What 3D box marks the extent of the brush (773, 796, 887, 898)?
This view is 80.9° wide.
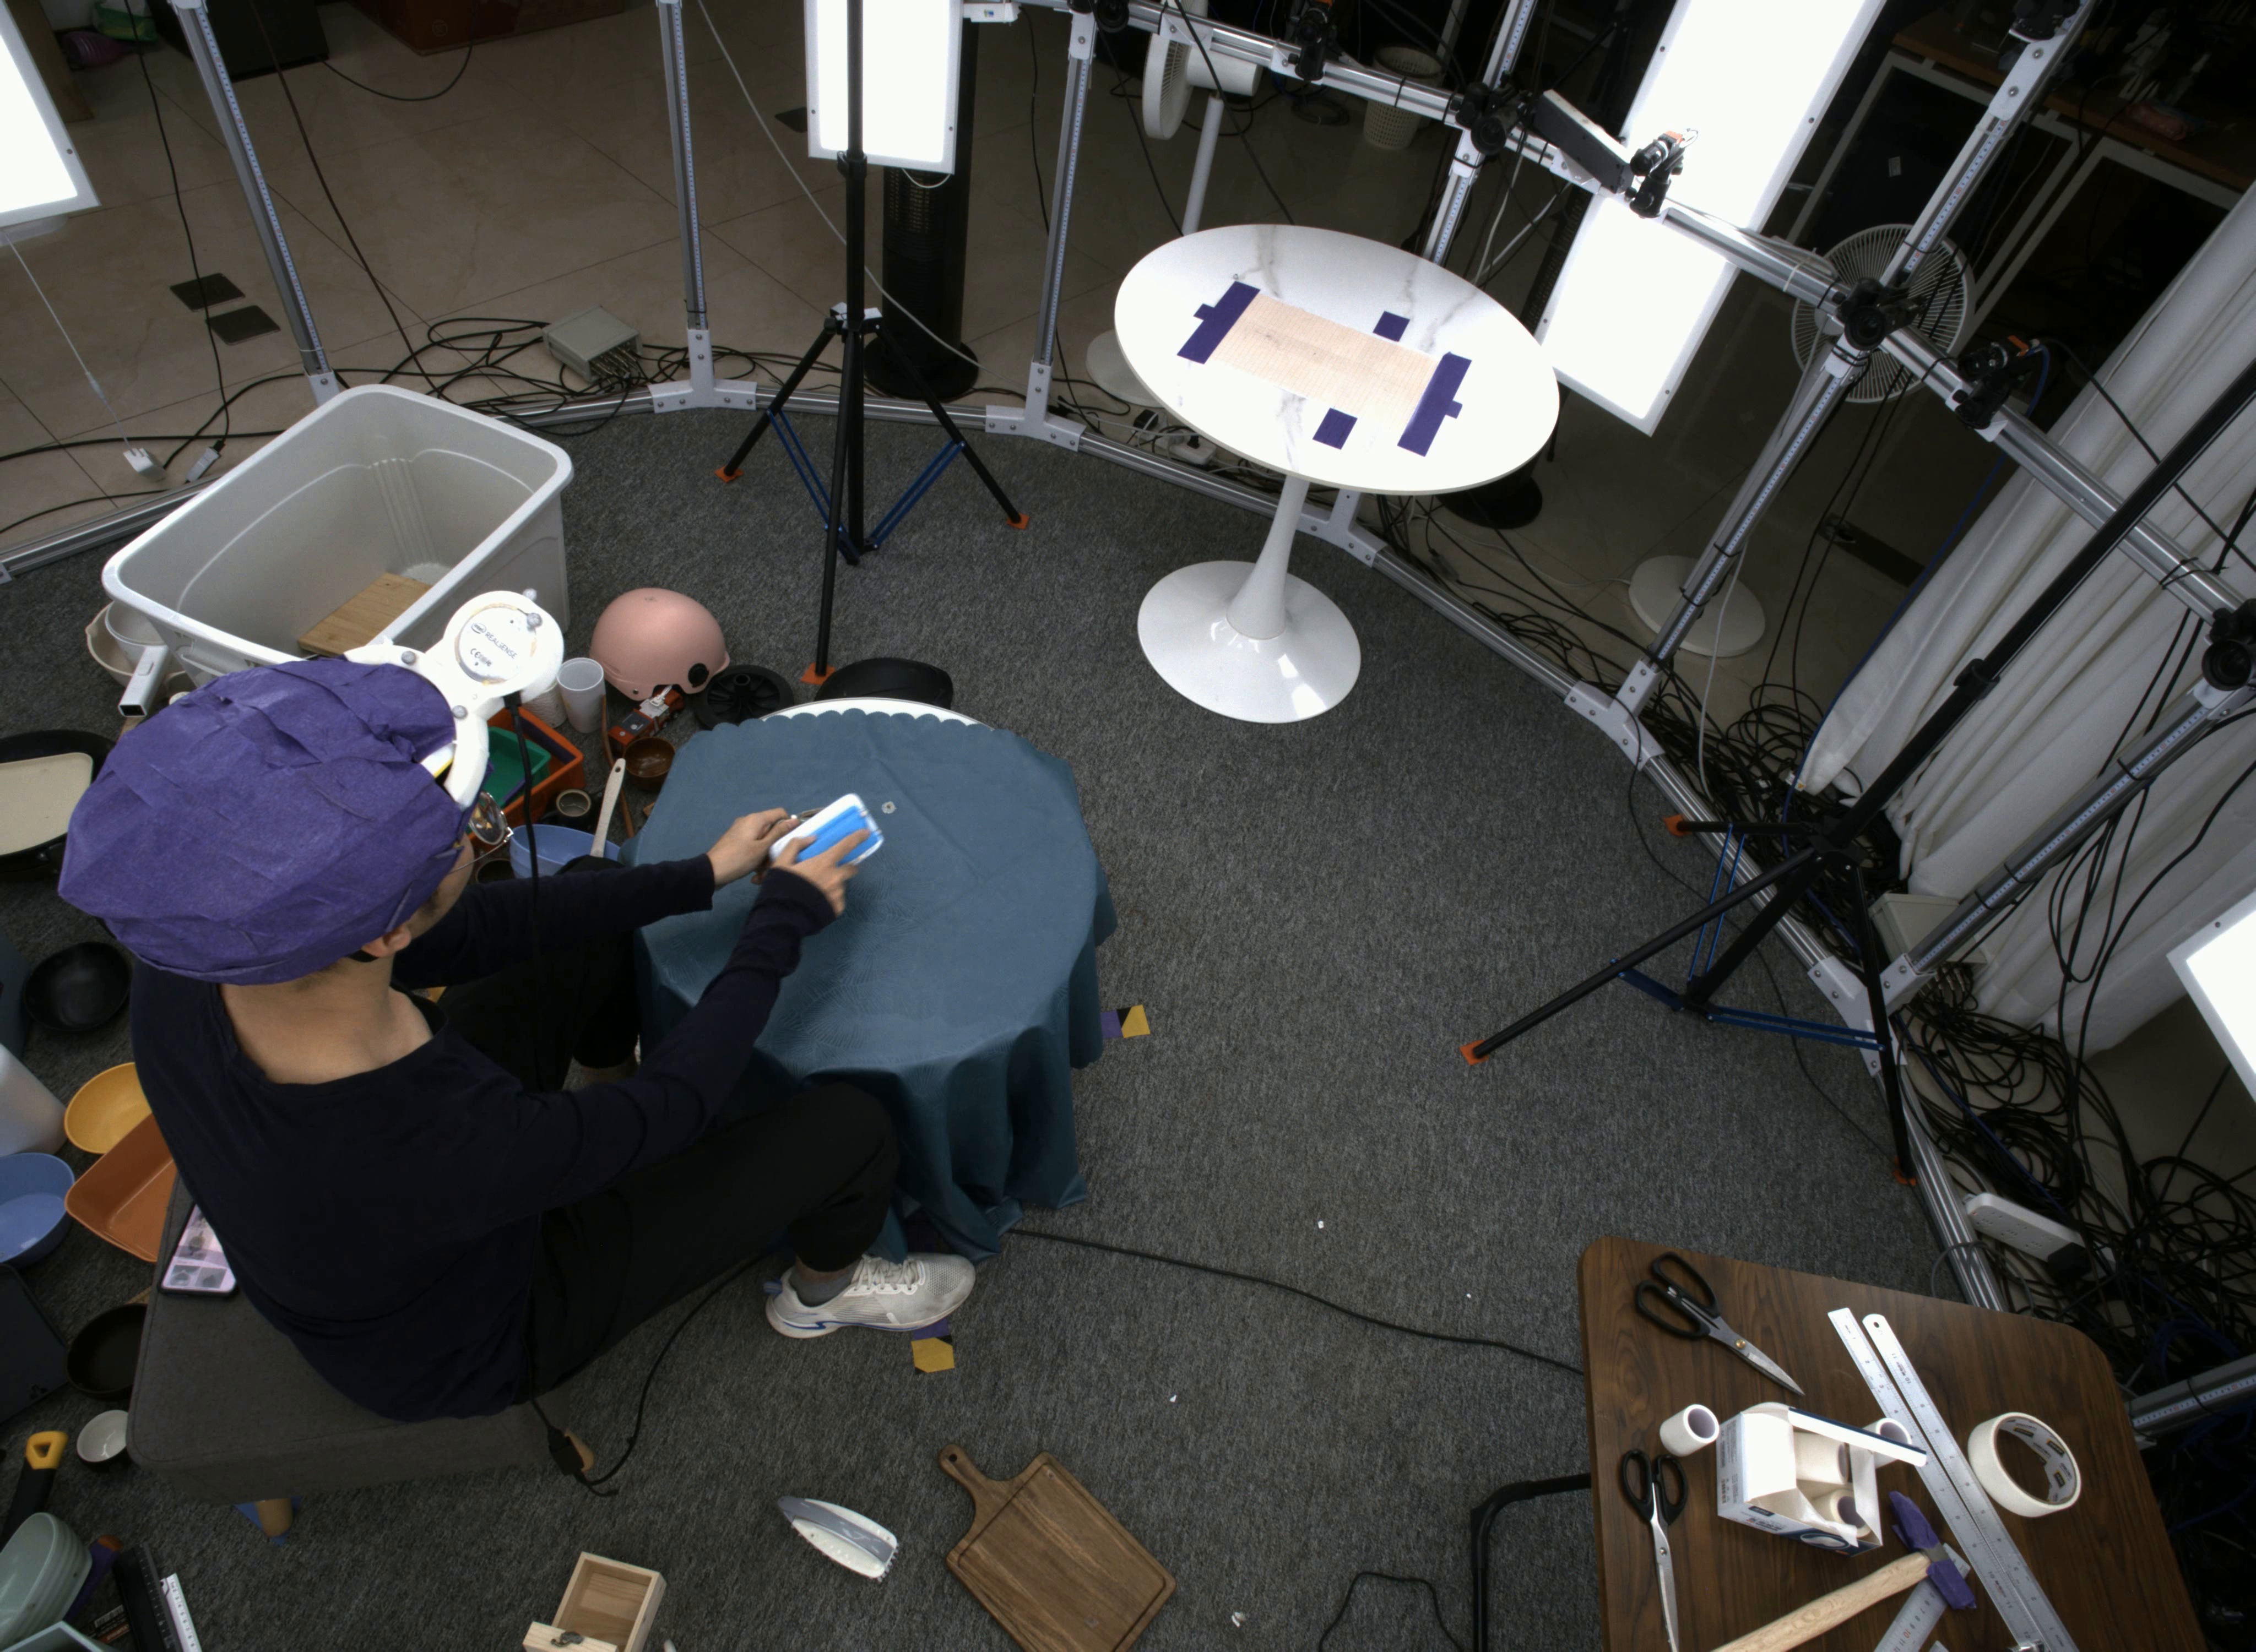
[{"bbox_3d":[-0.359,0.021,1.588,0.144,0.054,0.086,-35,108,-37],"label":"brush"}]

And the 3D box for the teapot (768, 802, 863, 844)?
[{"bbox_3d":[-0.388,0.014,1.639,0.134,0.077,0.077,-19,18,-38],"label":"teapot"}]
